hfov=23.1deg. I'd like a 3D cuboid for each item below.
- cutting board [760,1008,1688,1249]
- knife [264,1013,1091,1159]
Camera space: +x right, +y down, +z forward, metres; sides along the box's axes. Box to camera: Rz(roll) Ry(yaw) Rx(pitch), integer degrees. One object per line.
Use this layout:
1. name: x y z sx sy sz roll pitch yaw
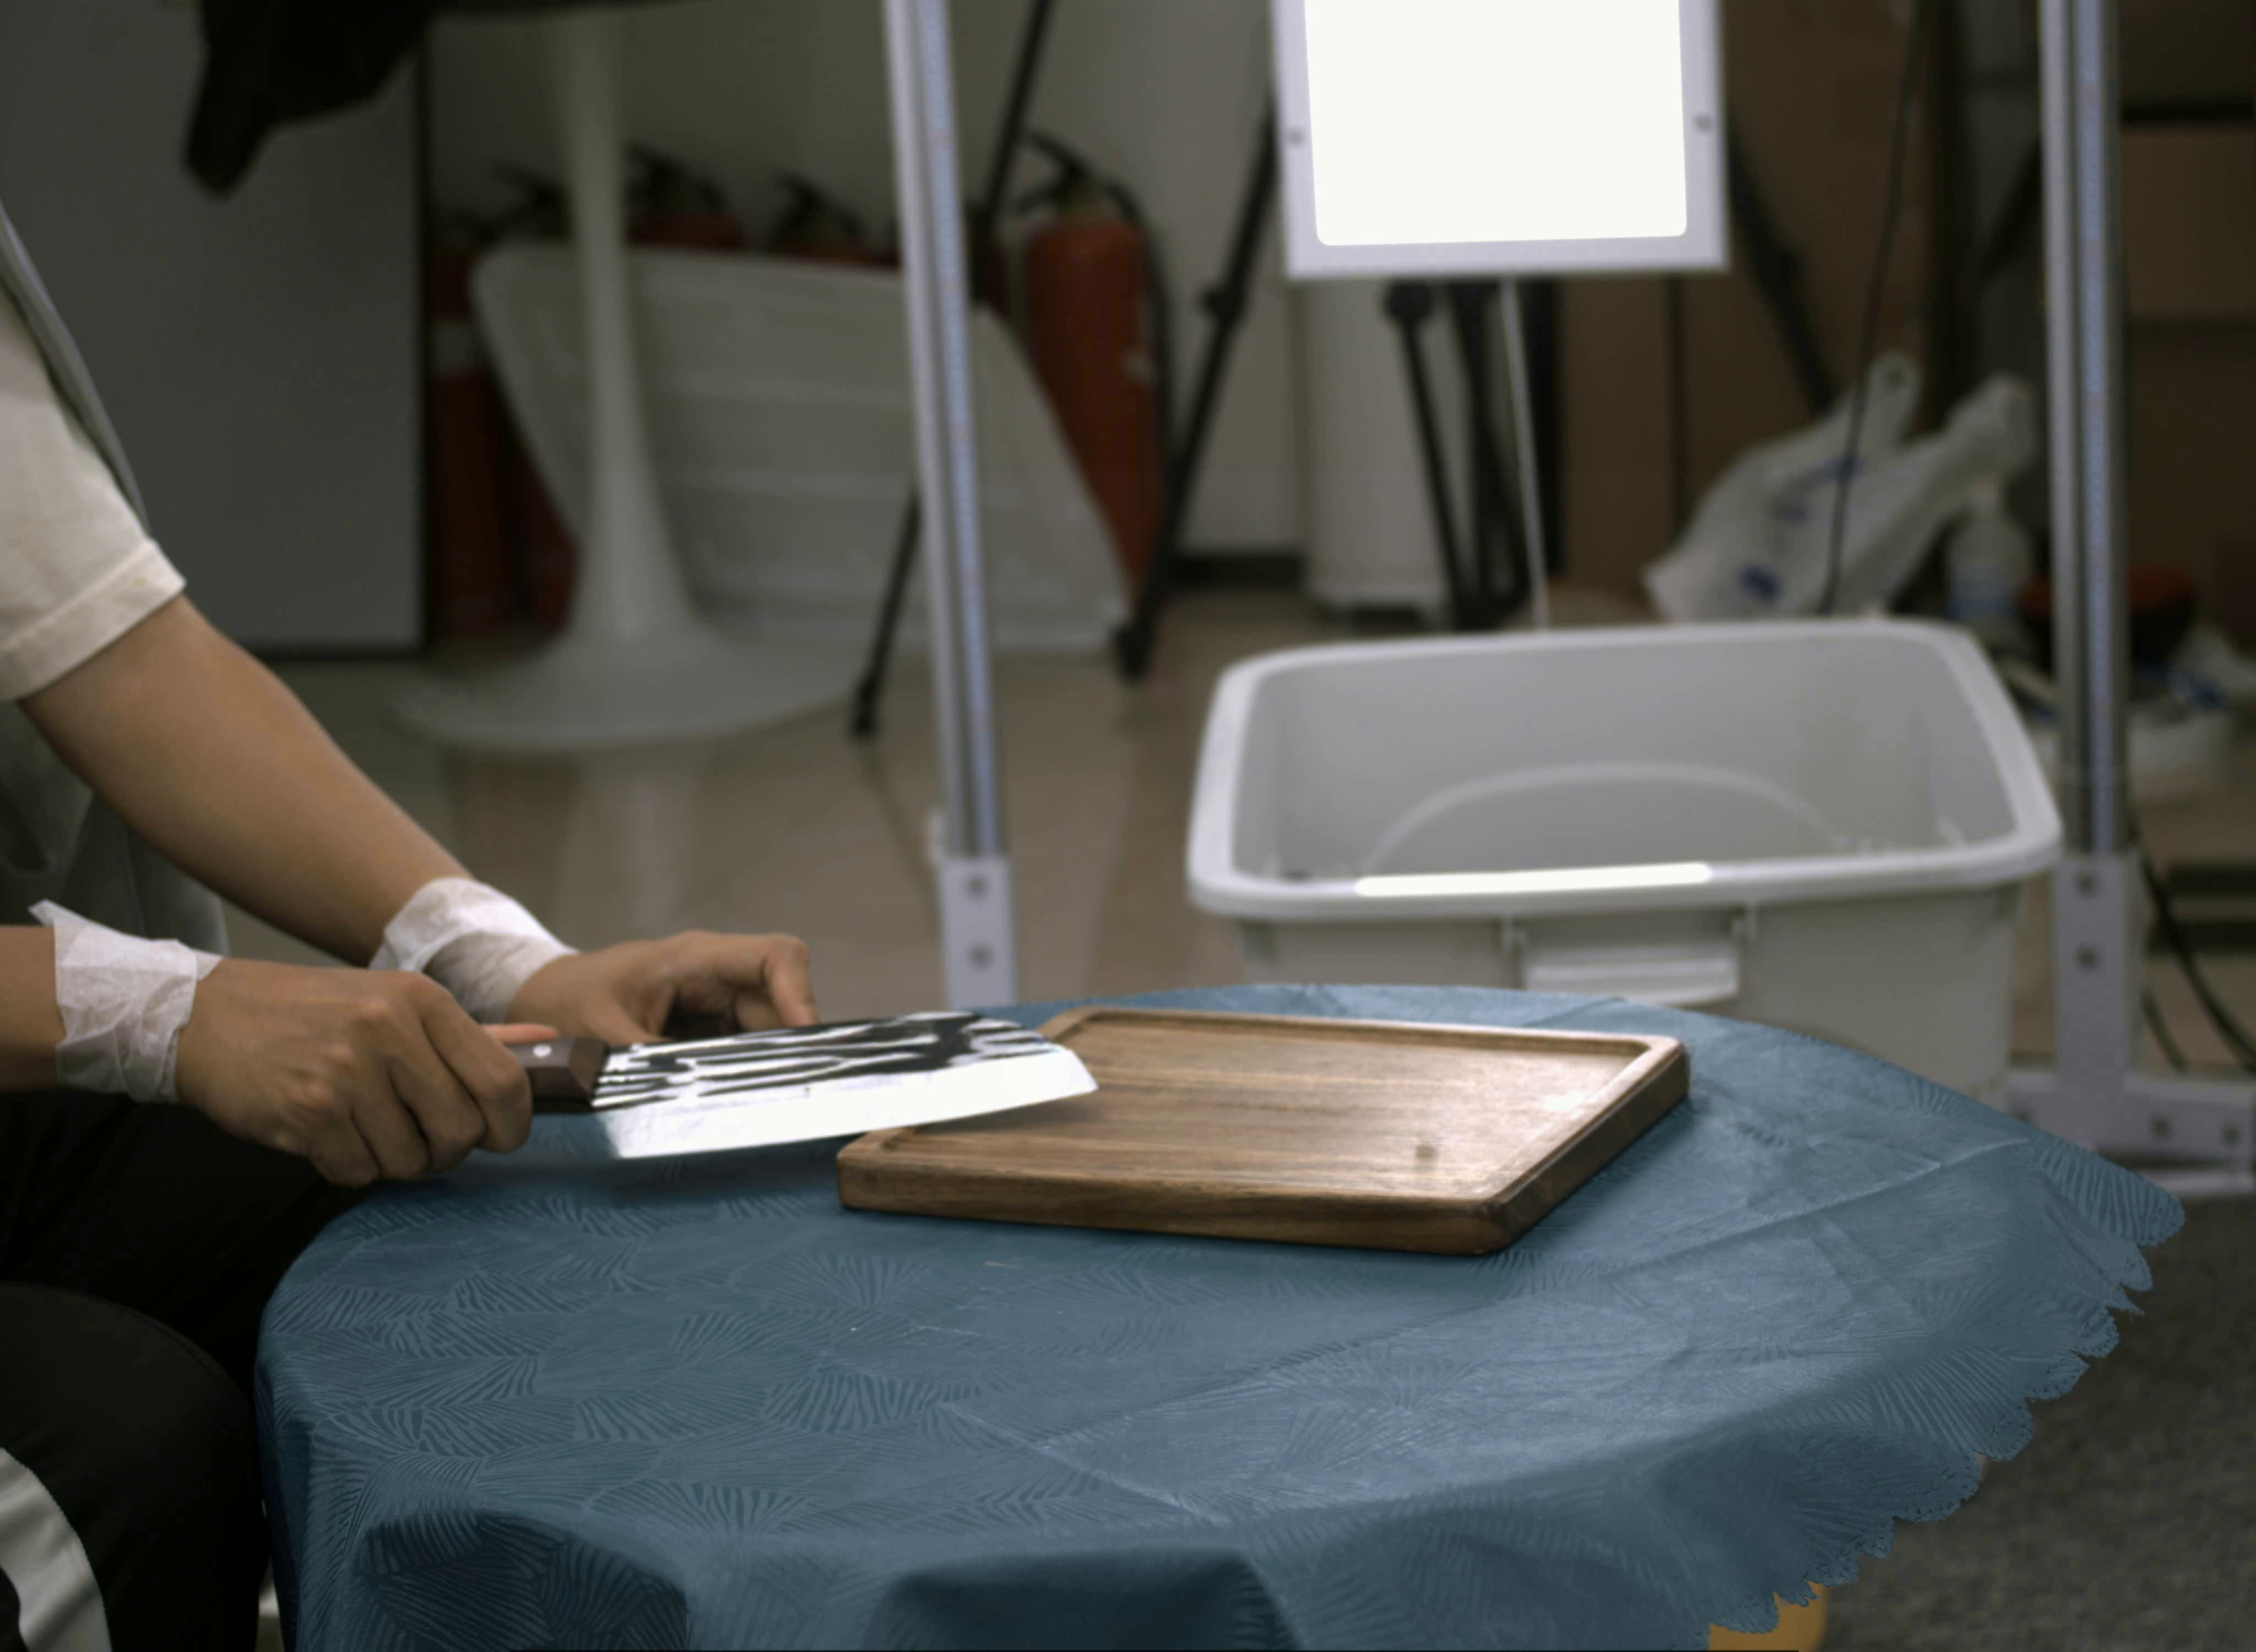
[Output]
1. cutting board: 0.005 0.102 1.953 0.358 0.023 0.197 1 15 28
2. knife: -0.162 0.095 1.963 0.300 0.024 0.068 -6 34 5
